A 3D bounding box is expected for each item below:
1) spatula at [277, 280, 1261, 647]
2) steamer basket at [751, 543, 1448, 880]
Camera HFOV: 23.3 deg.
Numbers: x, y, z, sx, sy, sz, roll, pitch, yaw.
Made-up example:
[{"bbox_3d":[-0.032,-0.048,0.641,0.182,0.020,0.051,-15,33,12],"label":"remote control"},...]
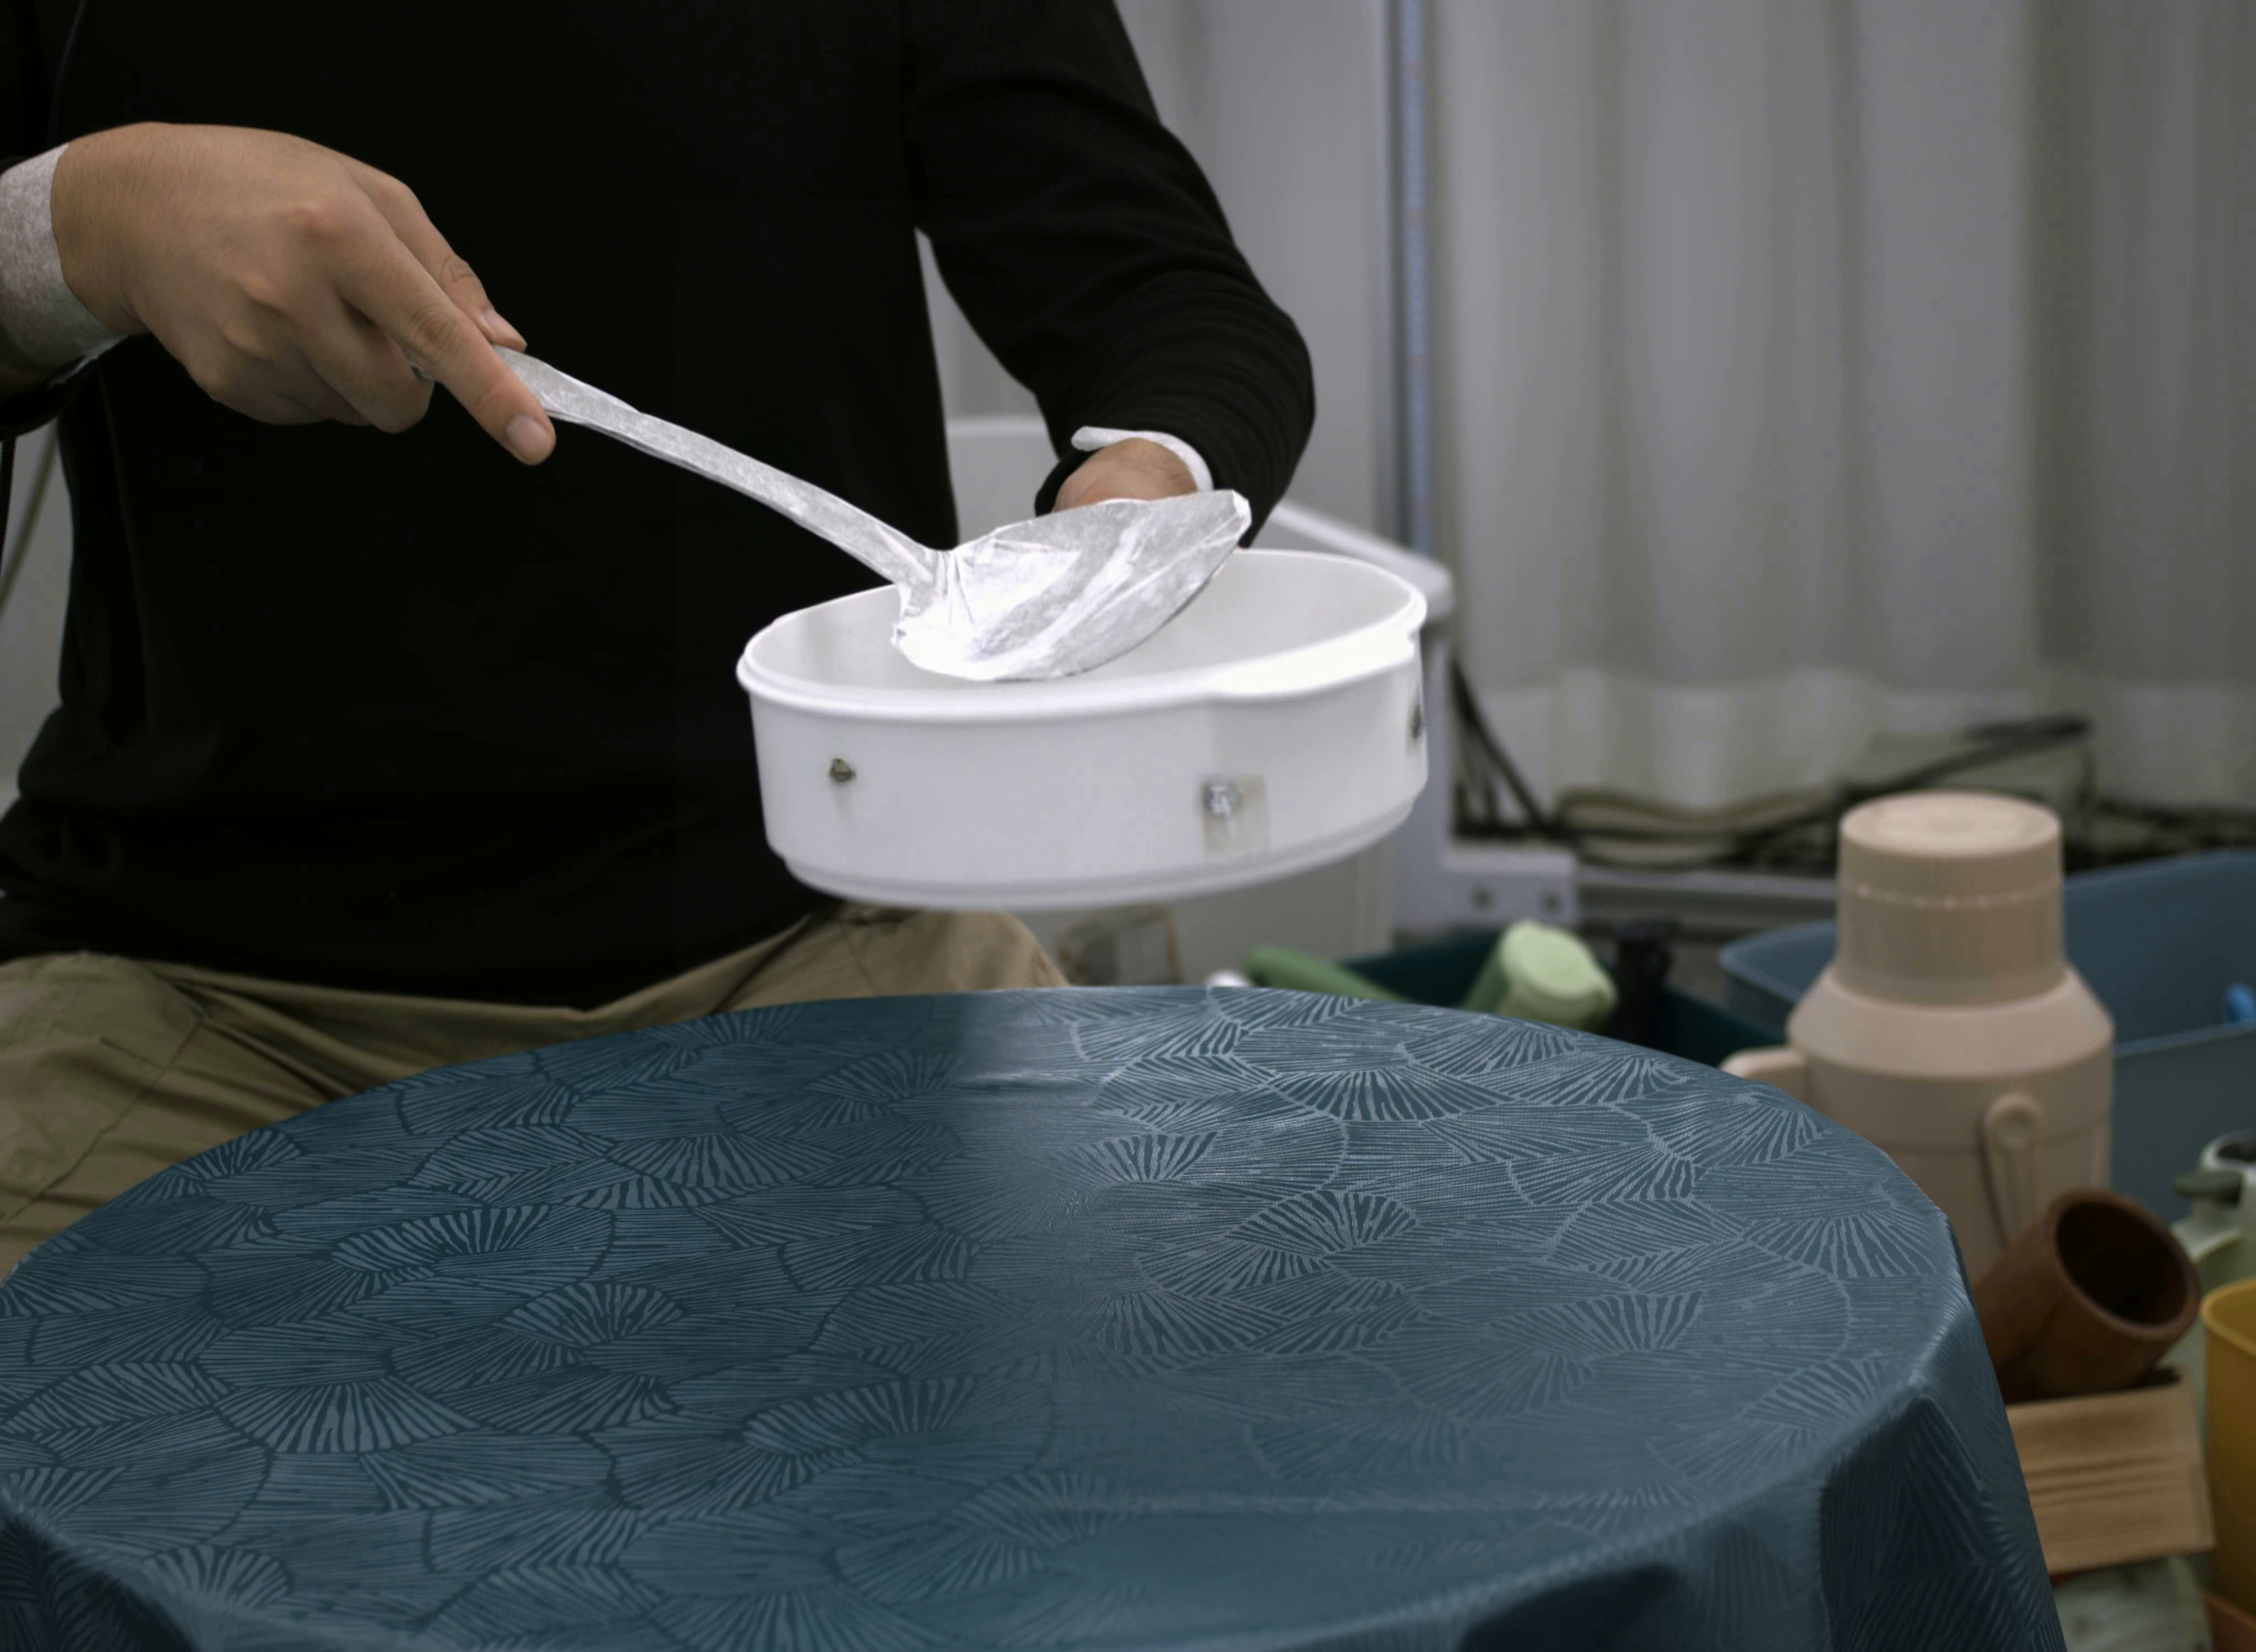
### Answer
[{"bbox_3d":[-0.126,-0.115,1.632,0.367,0.044,0.099,23,50,27],"label":"spatula"},{"bbox_3d":[-0.006,-0.033,1.577,0.201,0.069,0.231,-14,14,-39],"label":"steamer basket"}]
